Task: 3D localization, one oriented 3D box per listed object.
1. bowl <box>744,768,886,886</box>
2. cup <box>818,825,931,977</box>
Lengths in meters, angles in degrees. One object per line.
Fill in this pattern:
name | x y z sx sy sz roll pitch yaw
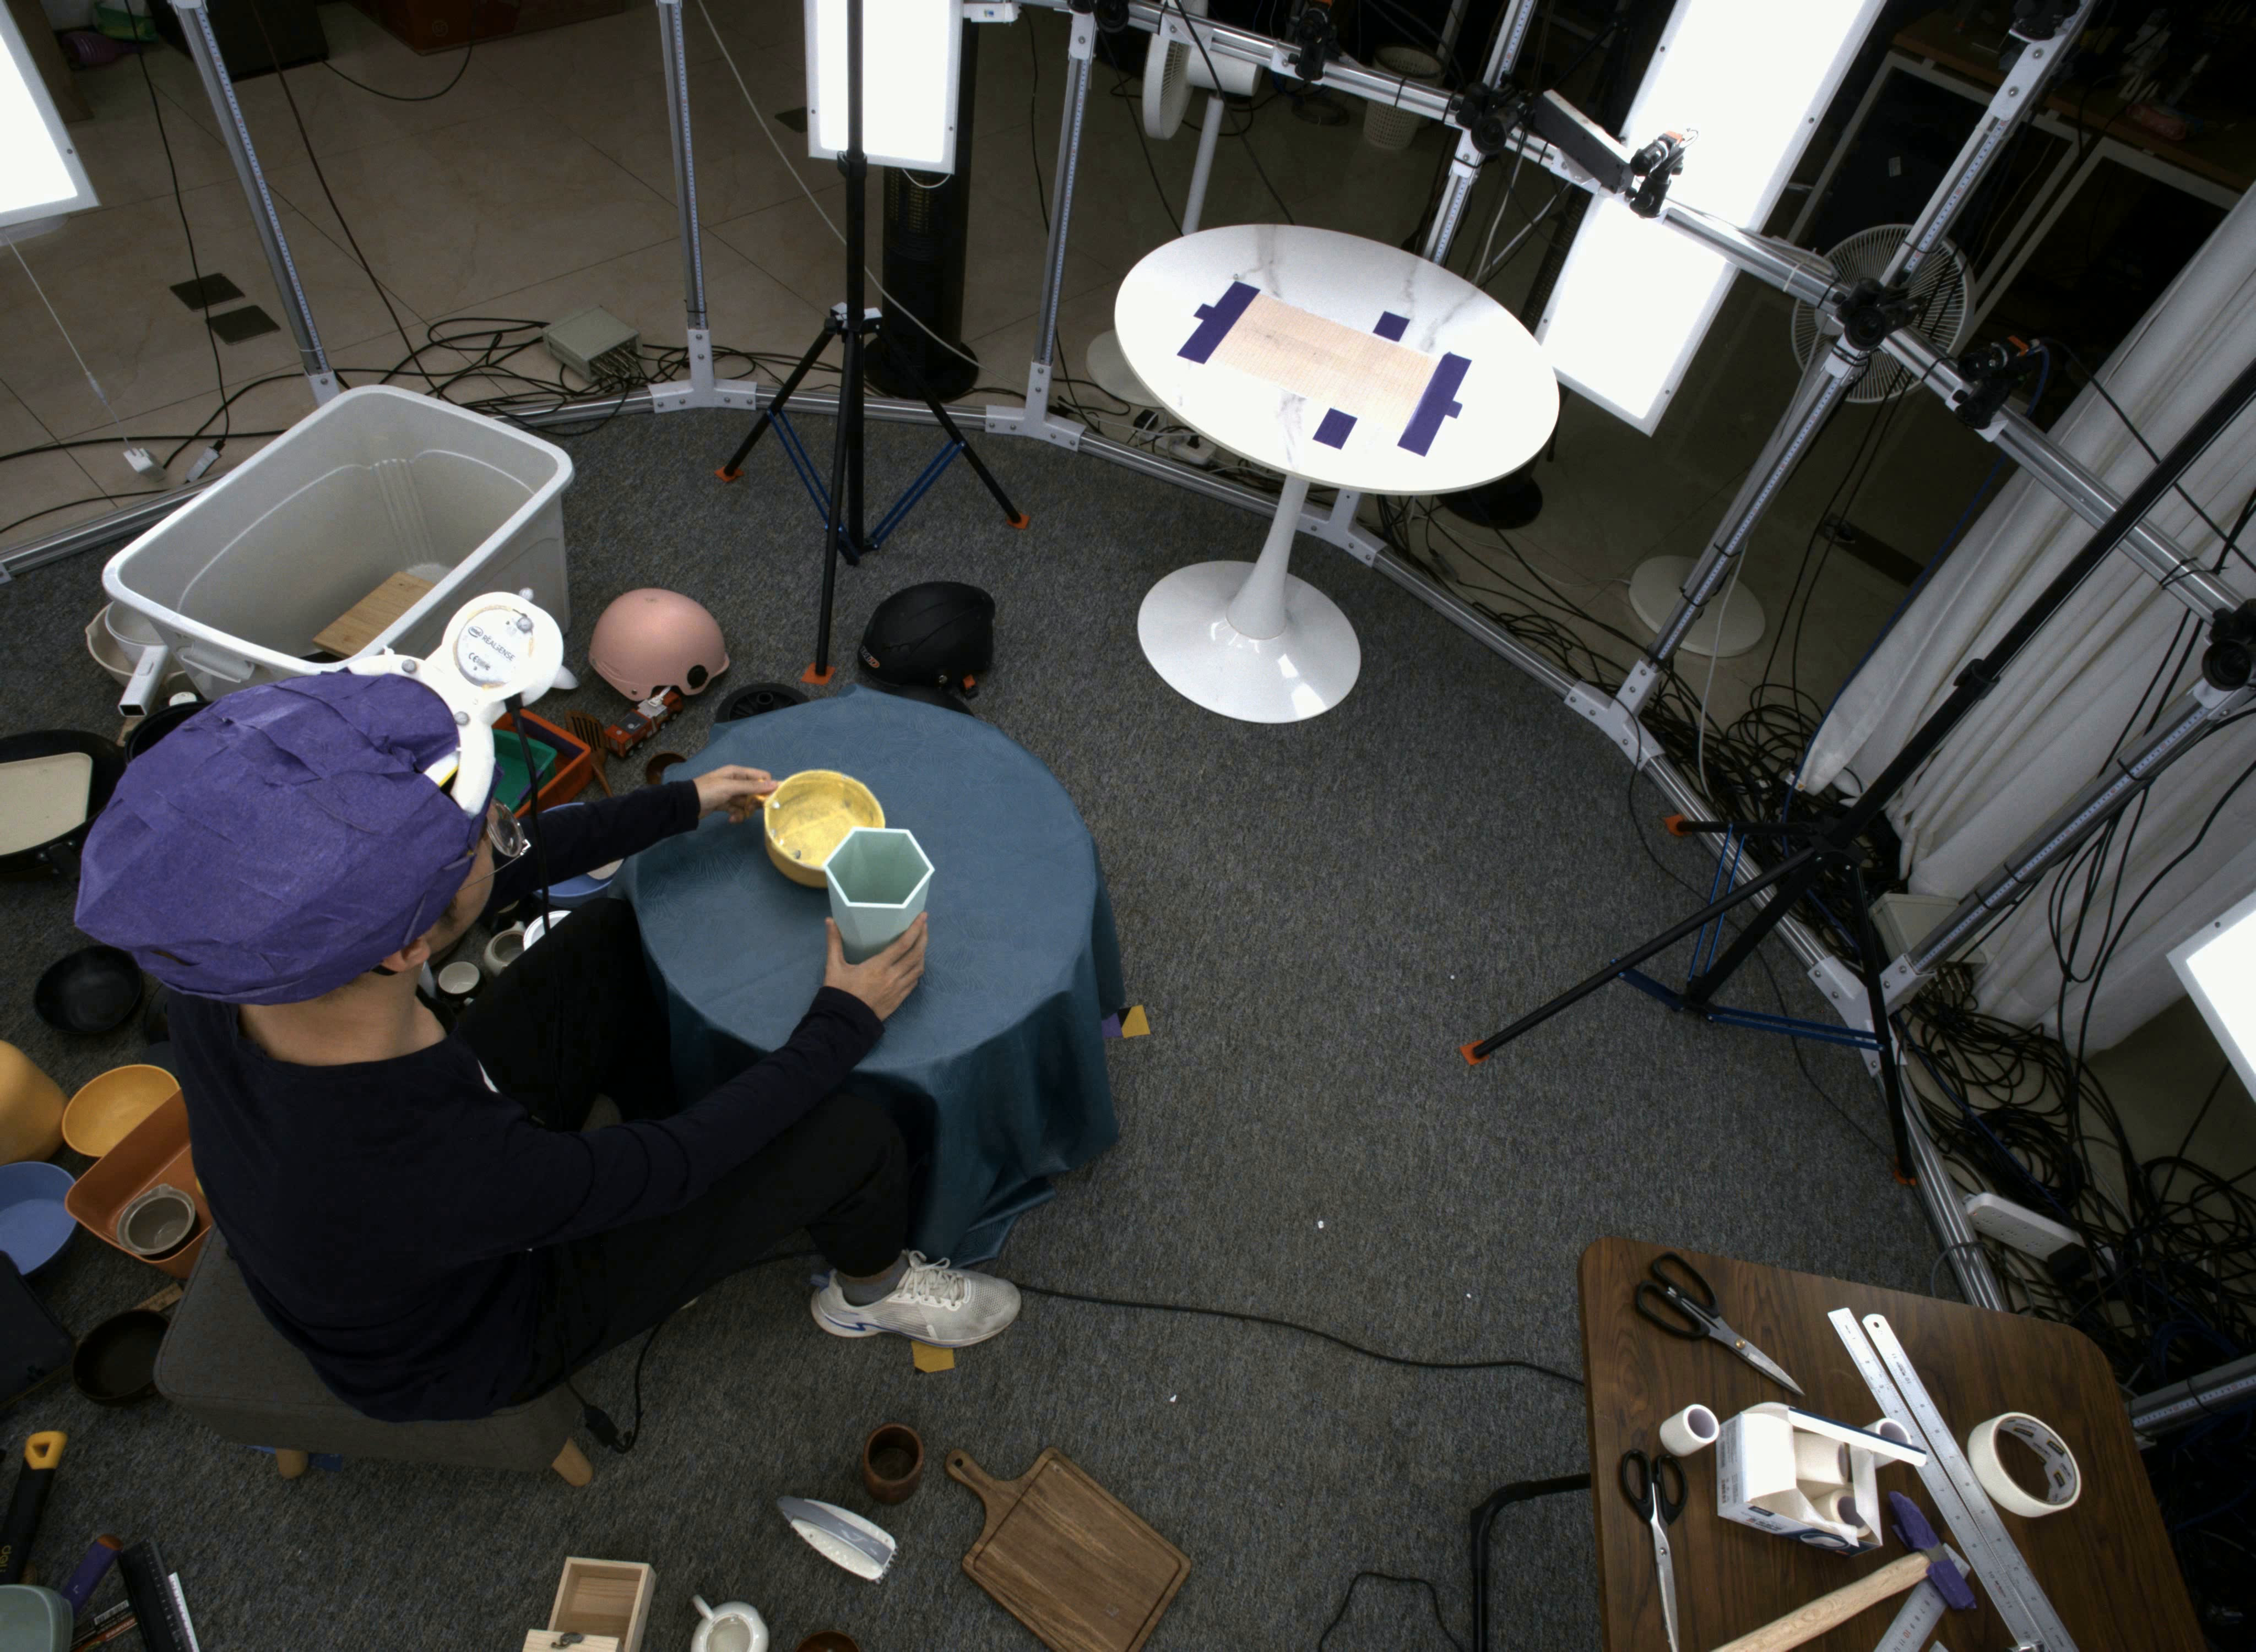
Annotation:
bowl | -0.406 -0.002 1.671 0.180 0.075 0.151 24 53 -9
cup | -0.305 0.093 1.580 0.115 0.167 0.127 -26 61 -27
